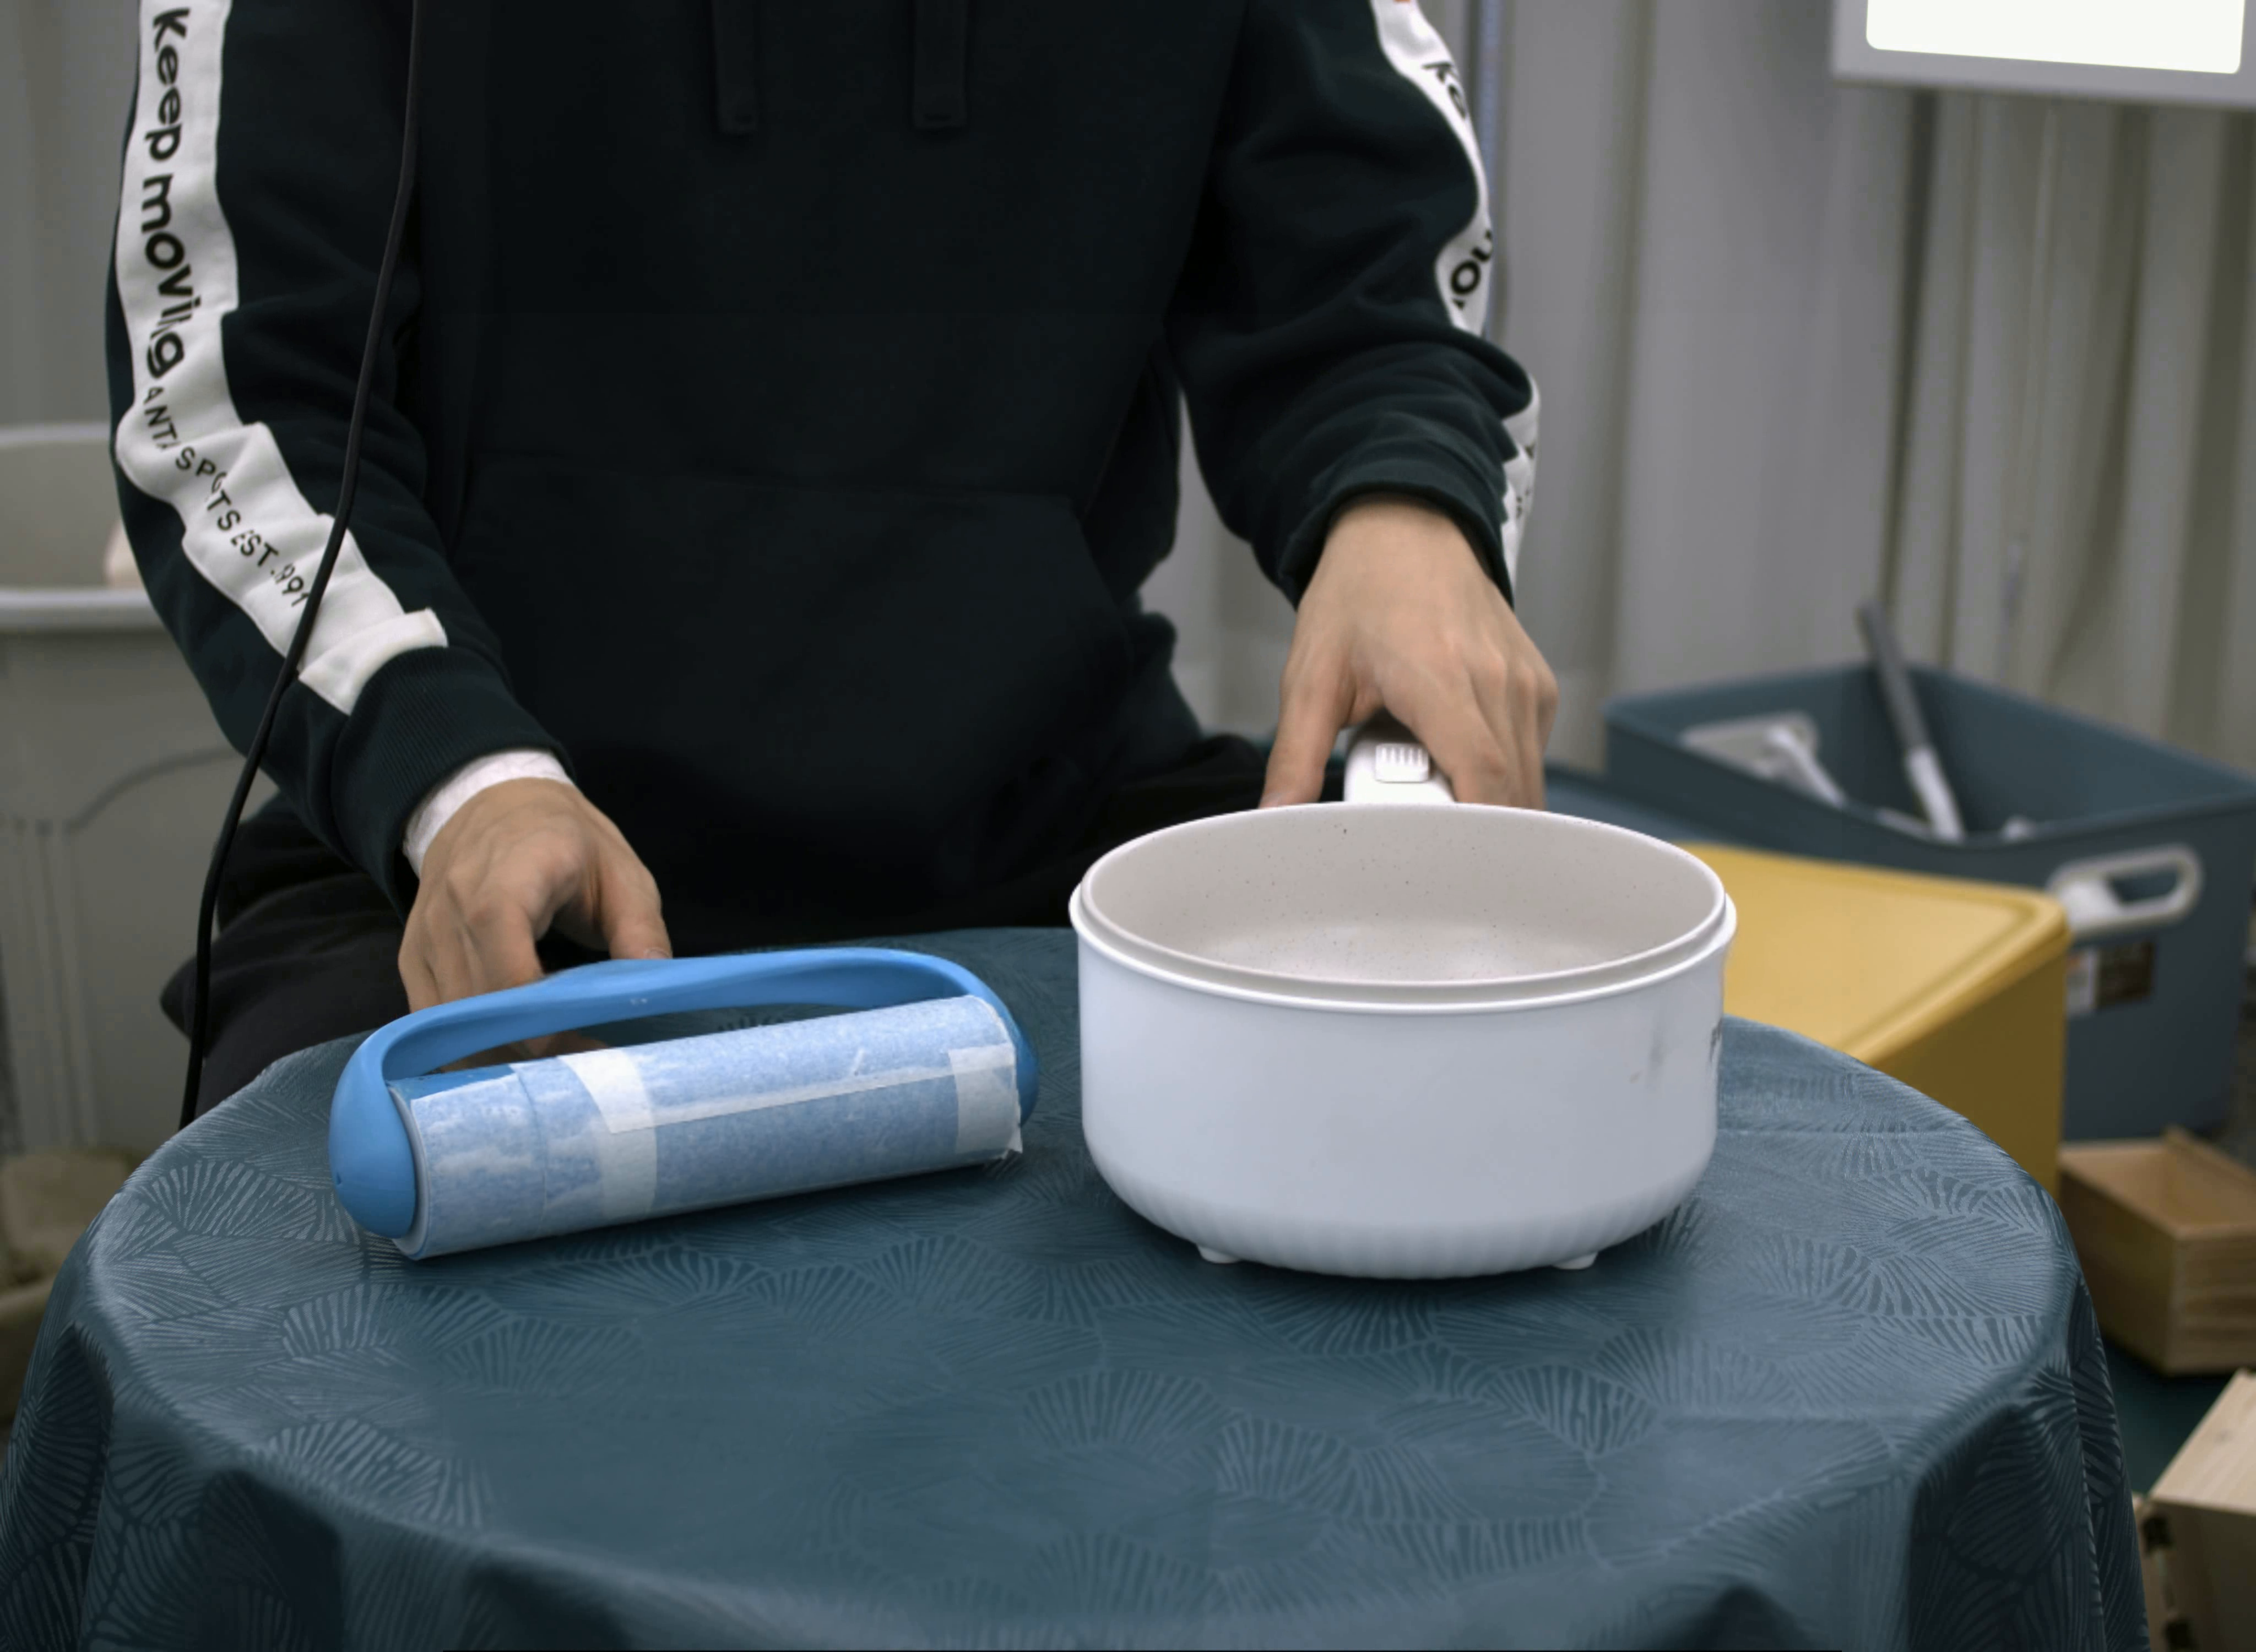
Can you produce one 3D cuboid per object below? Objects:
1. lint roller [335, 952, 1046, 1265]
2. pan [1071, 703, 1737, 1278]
[{"bbox_3d":[-0.159,0.075,1.643,0.230,0.068,0.178,-10,20,-29],"label":"lint roller"},{"bbox_3d":[0.087,0.047,1.672,0.200,0.103,0.353,1,15,3],"label":"pan"}]
